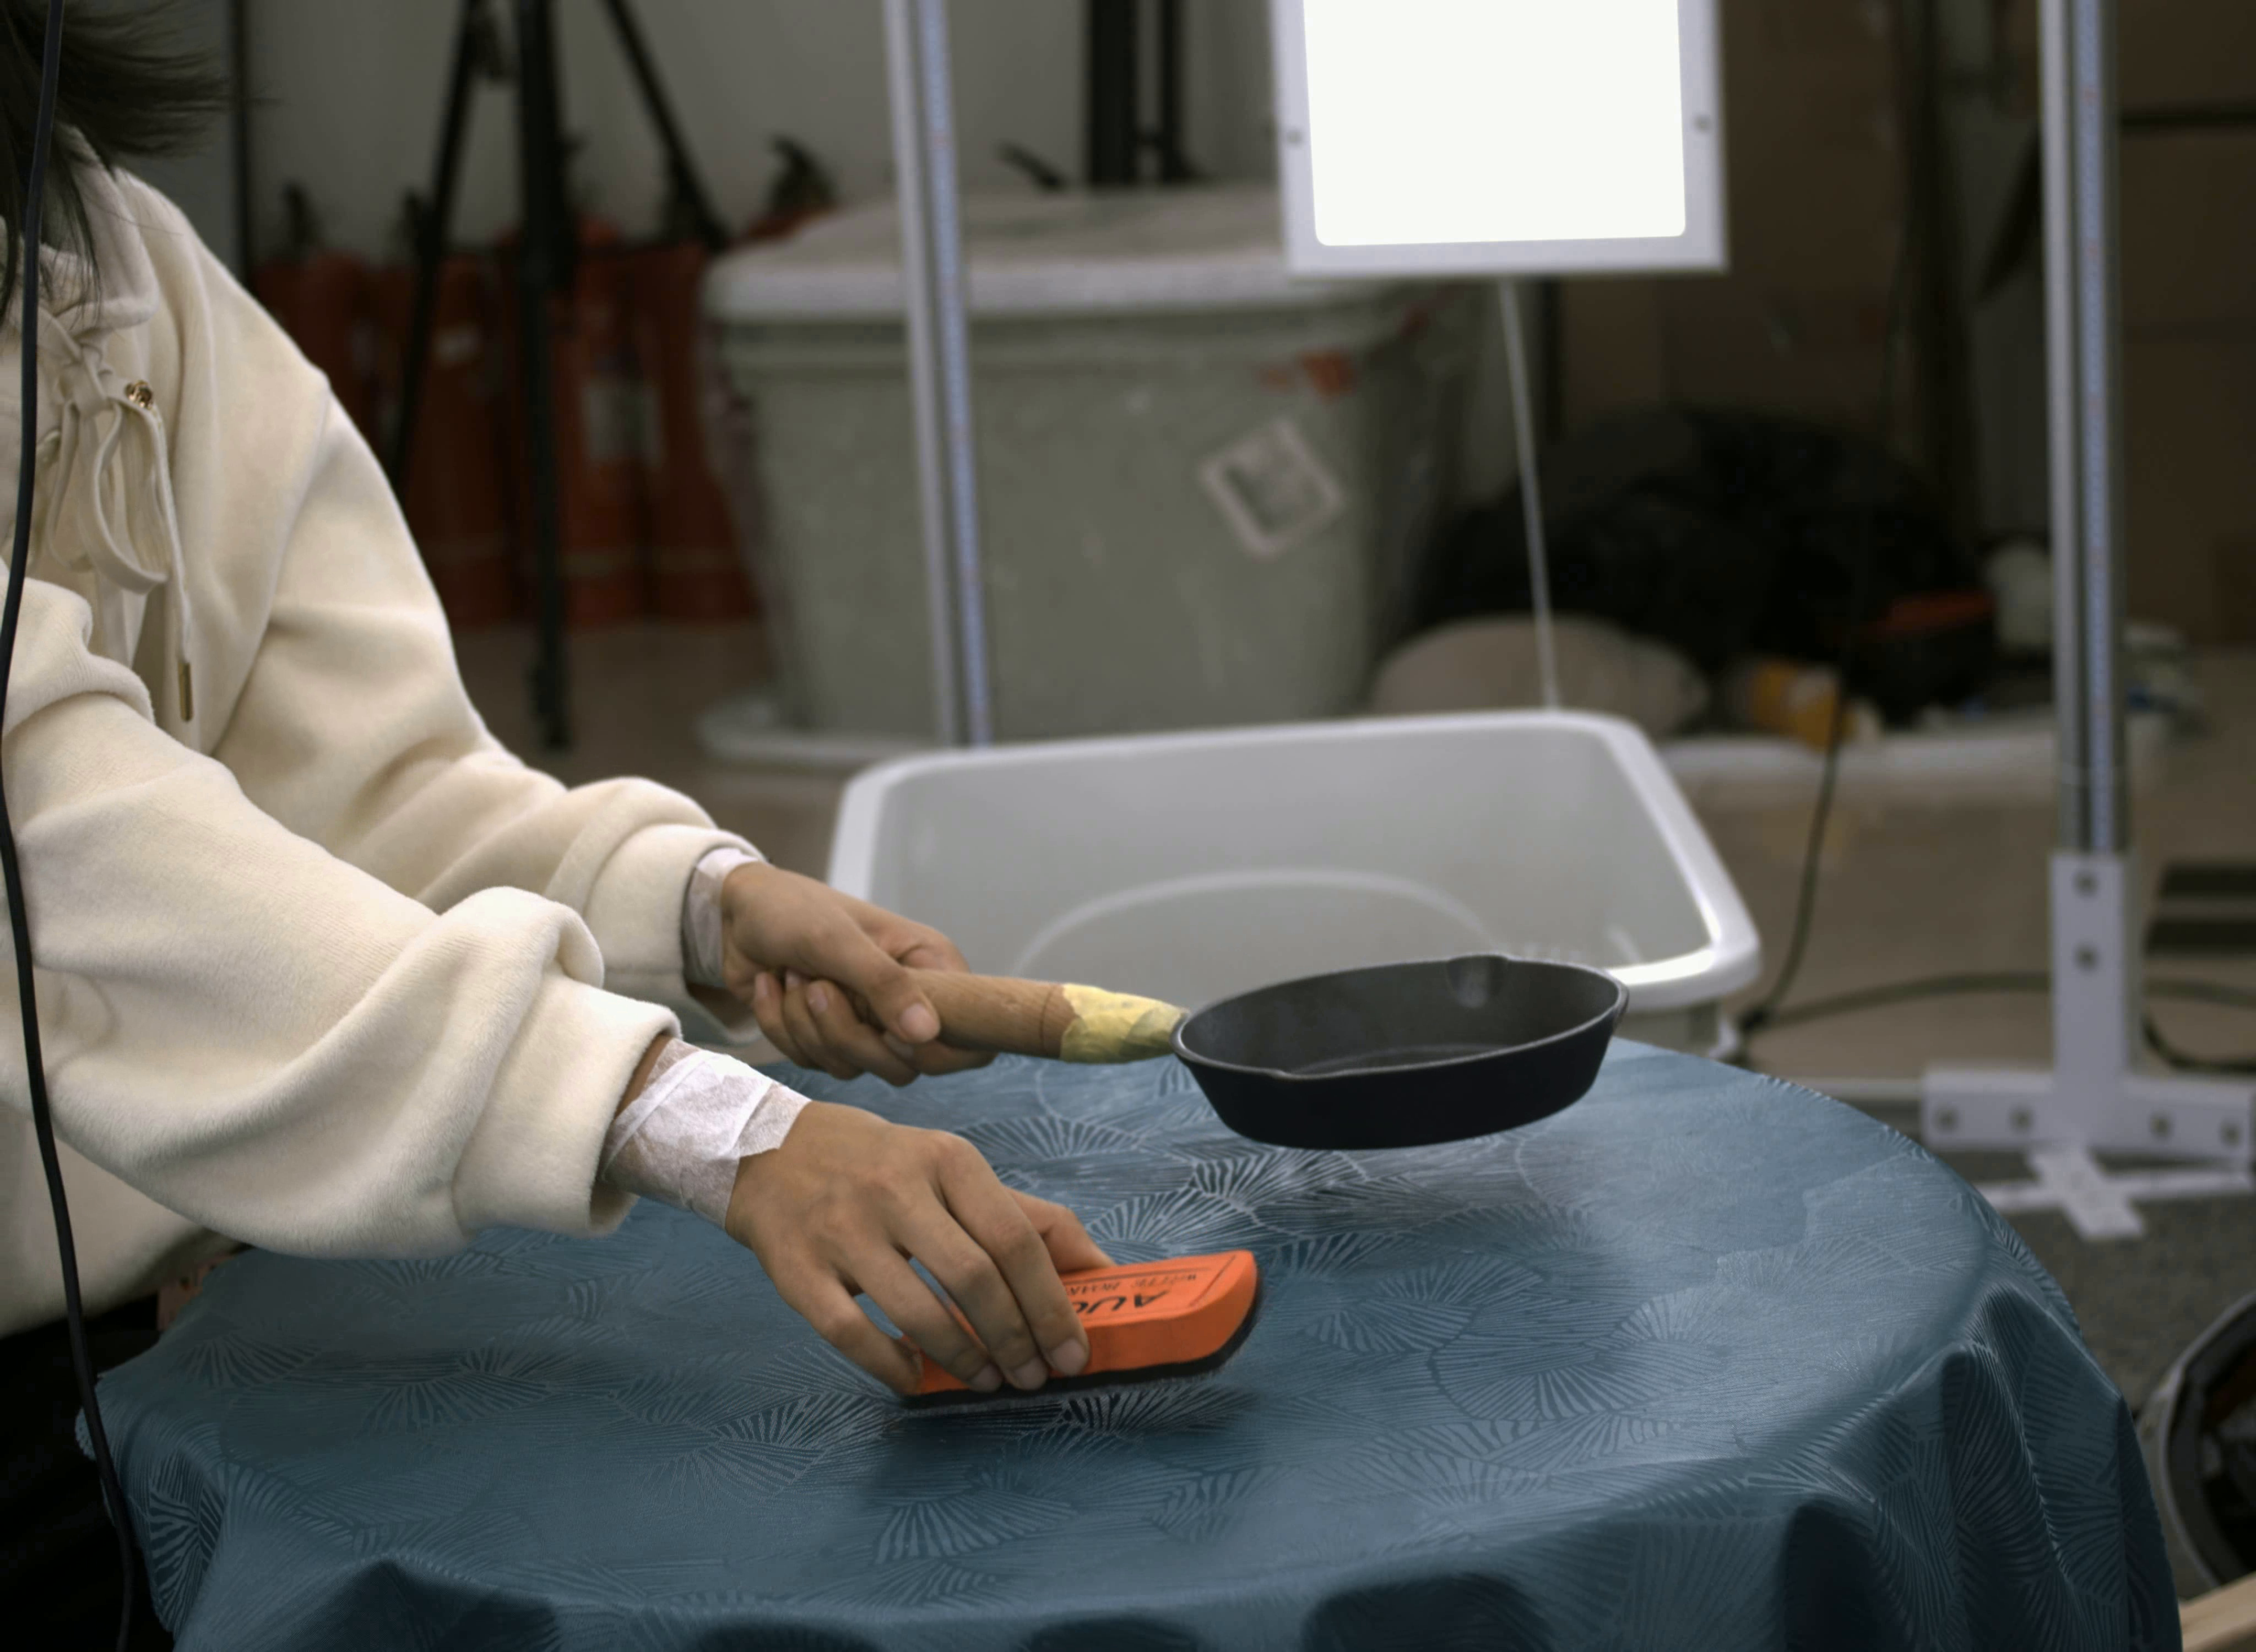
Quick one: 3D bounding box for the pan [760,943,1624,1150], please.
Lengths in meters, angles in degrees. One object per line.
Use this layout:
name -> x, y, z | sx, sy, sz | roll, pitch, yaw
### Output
pan -> 0.017, 0.070, 1.909 | 0.330, 0.050, 0.165 | 0, 14, 29

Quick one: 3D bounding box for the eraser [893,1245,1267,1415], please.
eraser -> -0.014, 0.154, 1.689 | 0.110, 0.023, 0.058 | -10, 15, 27
